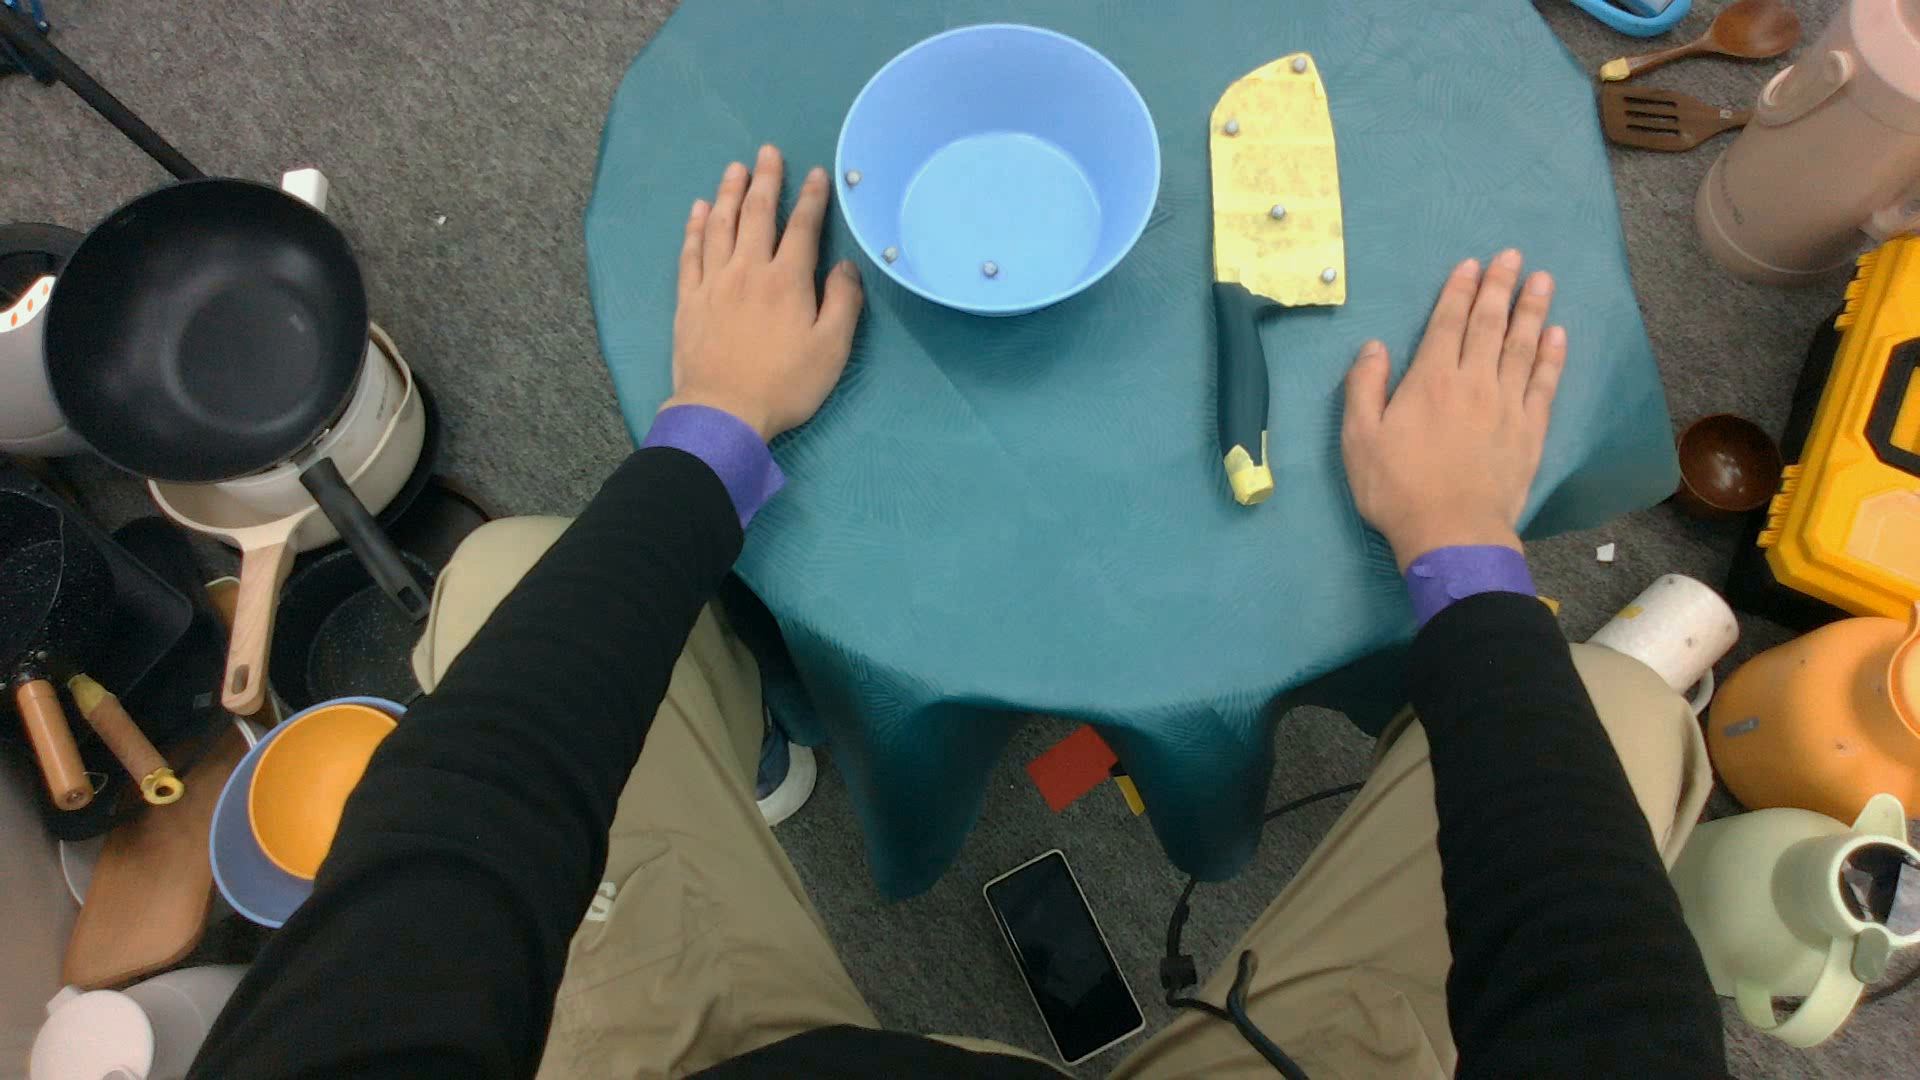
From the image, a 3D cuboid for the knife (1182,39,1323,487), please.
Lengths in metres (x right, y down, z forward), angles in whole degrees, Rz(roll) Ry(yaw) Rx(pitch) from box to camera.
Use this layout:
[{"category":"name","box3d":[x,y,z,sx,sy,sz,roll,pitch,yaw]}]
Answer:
[{"category":"knife","box3d":[0.166,-0.166,0.786,0.081,0.027,0.290,3,72,4]}]

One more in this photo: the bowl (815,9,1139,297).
[{"category":"bowl","box3d":[0.010,-0.204,0.774,0.176,0.070,0.176,0,72,1]}]
